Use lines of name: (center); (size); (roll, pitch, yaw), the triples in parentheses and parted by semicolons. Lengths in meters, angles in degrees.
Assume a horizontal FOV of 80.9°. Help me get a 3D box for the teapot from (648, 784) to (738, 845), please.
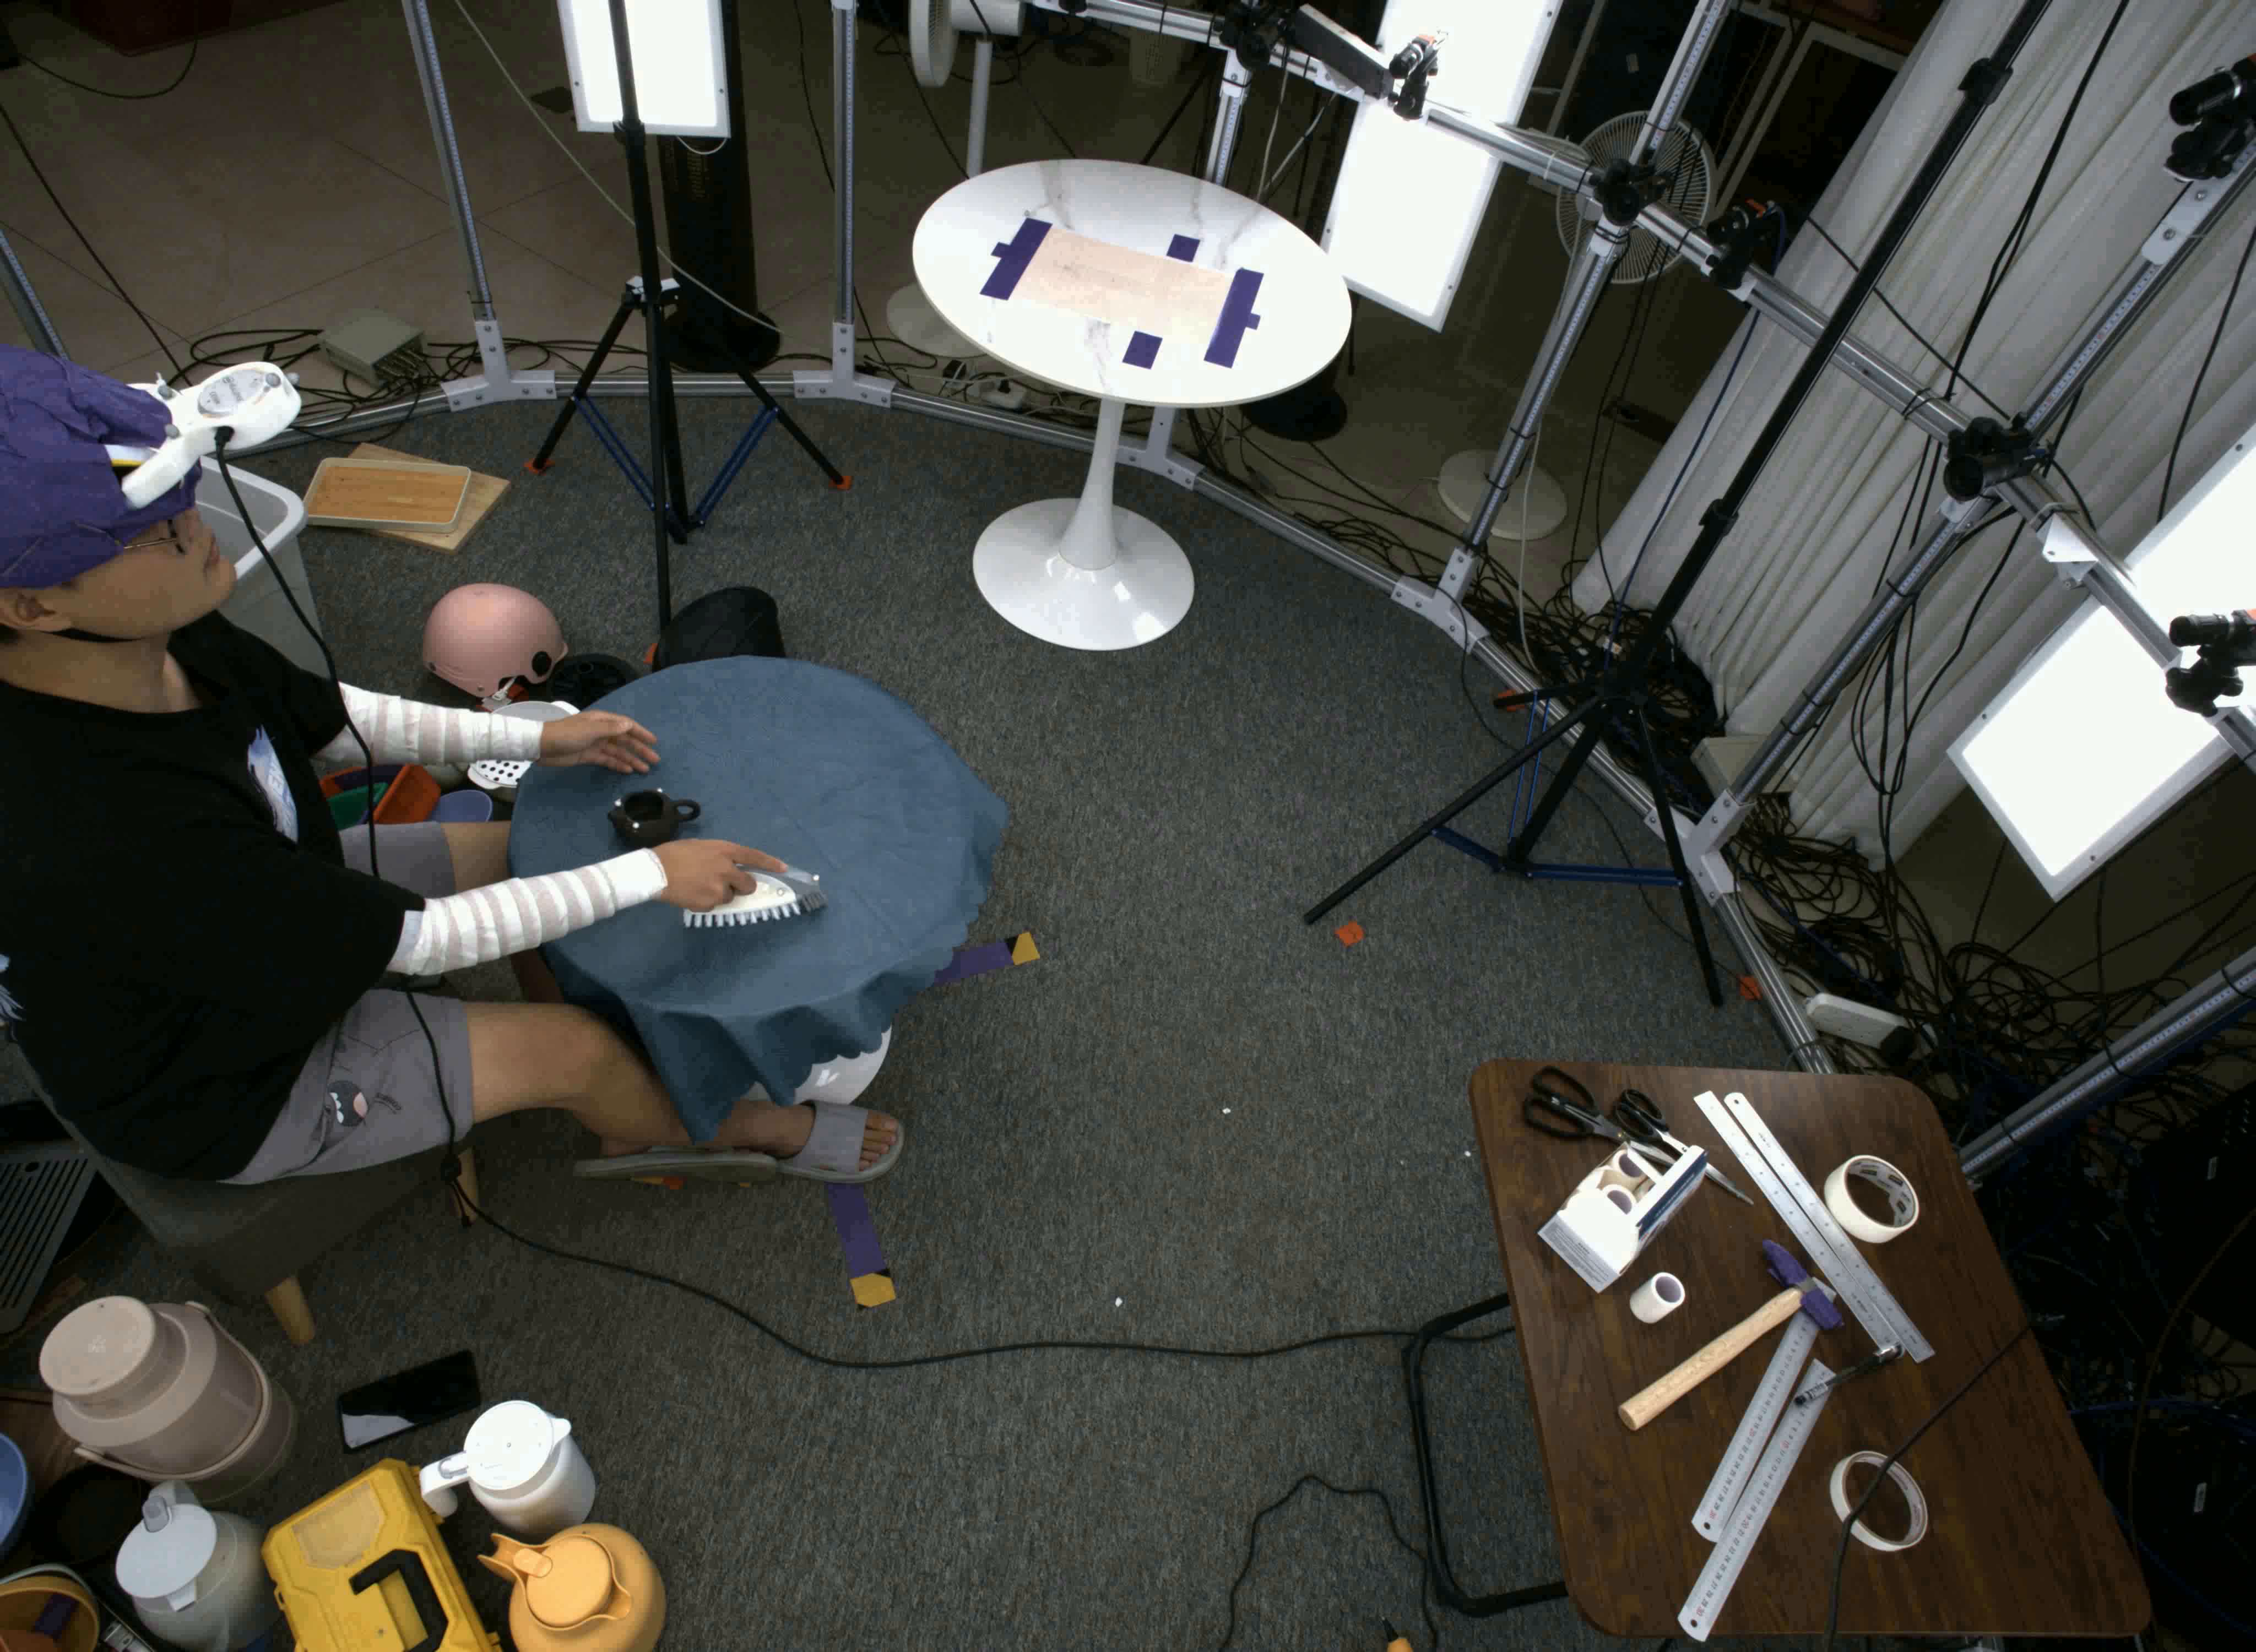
teapot: (-0.567, -0.020, 1.681); (0.114, 0.054, 0.081); (-10, 56, -18)

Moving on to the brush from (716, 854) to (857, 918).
brush: (-0.429, 0.066, 1.625); (0.176, 0.096, 0.060); (2, 55, -13)
